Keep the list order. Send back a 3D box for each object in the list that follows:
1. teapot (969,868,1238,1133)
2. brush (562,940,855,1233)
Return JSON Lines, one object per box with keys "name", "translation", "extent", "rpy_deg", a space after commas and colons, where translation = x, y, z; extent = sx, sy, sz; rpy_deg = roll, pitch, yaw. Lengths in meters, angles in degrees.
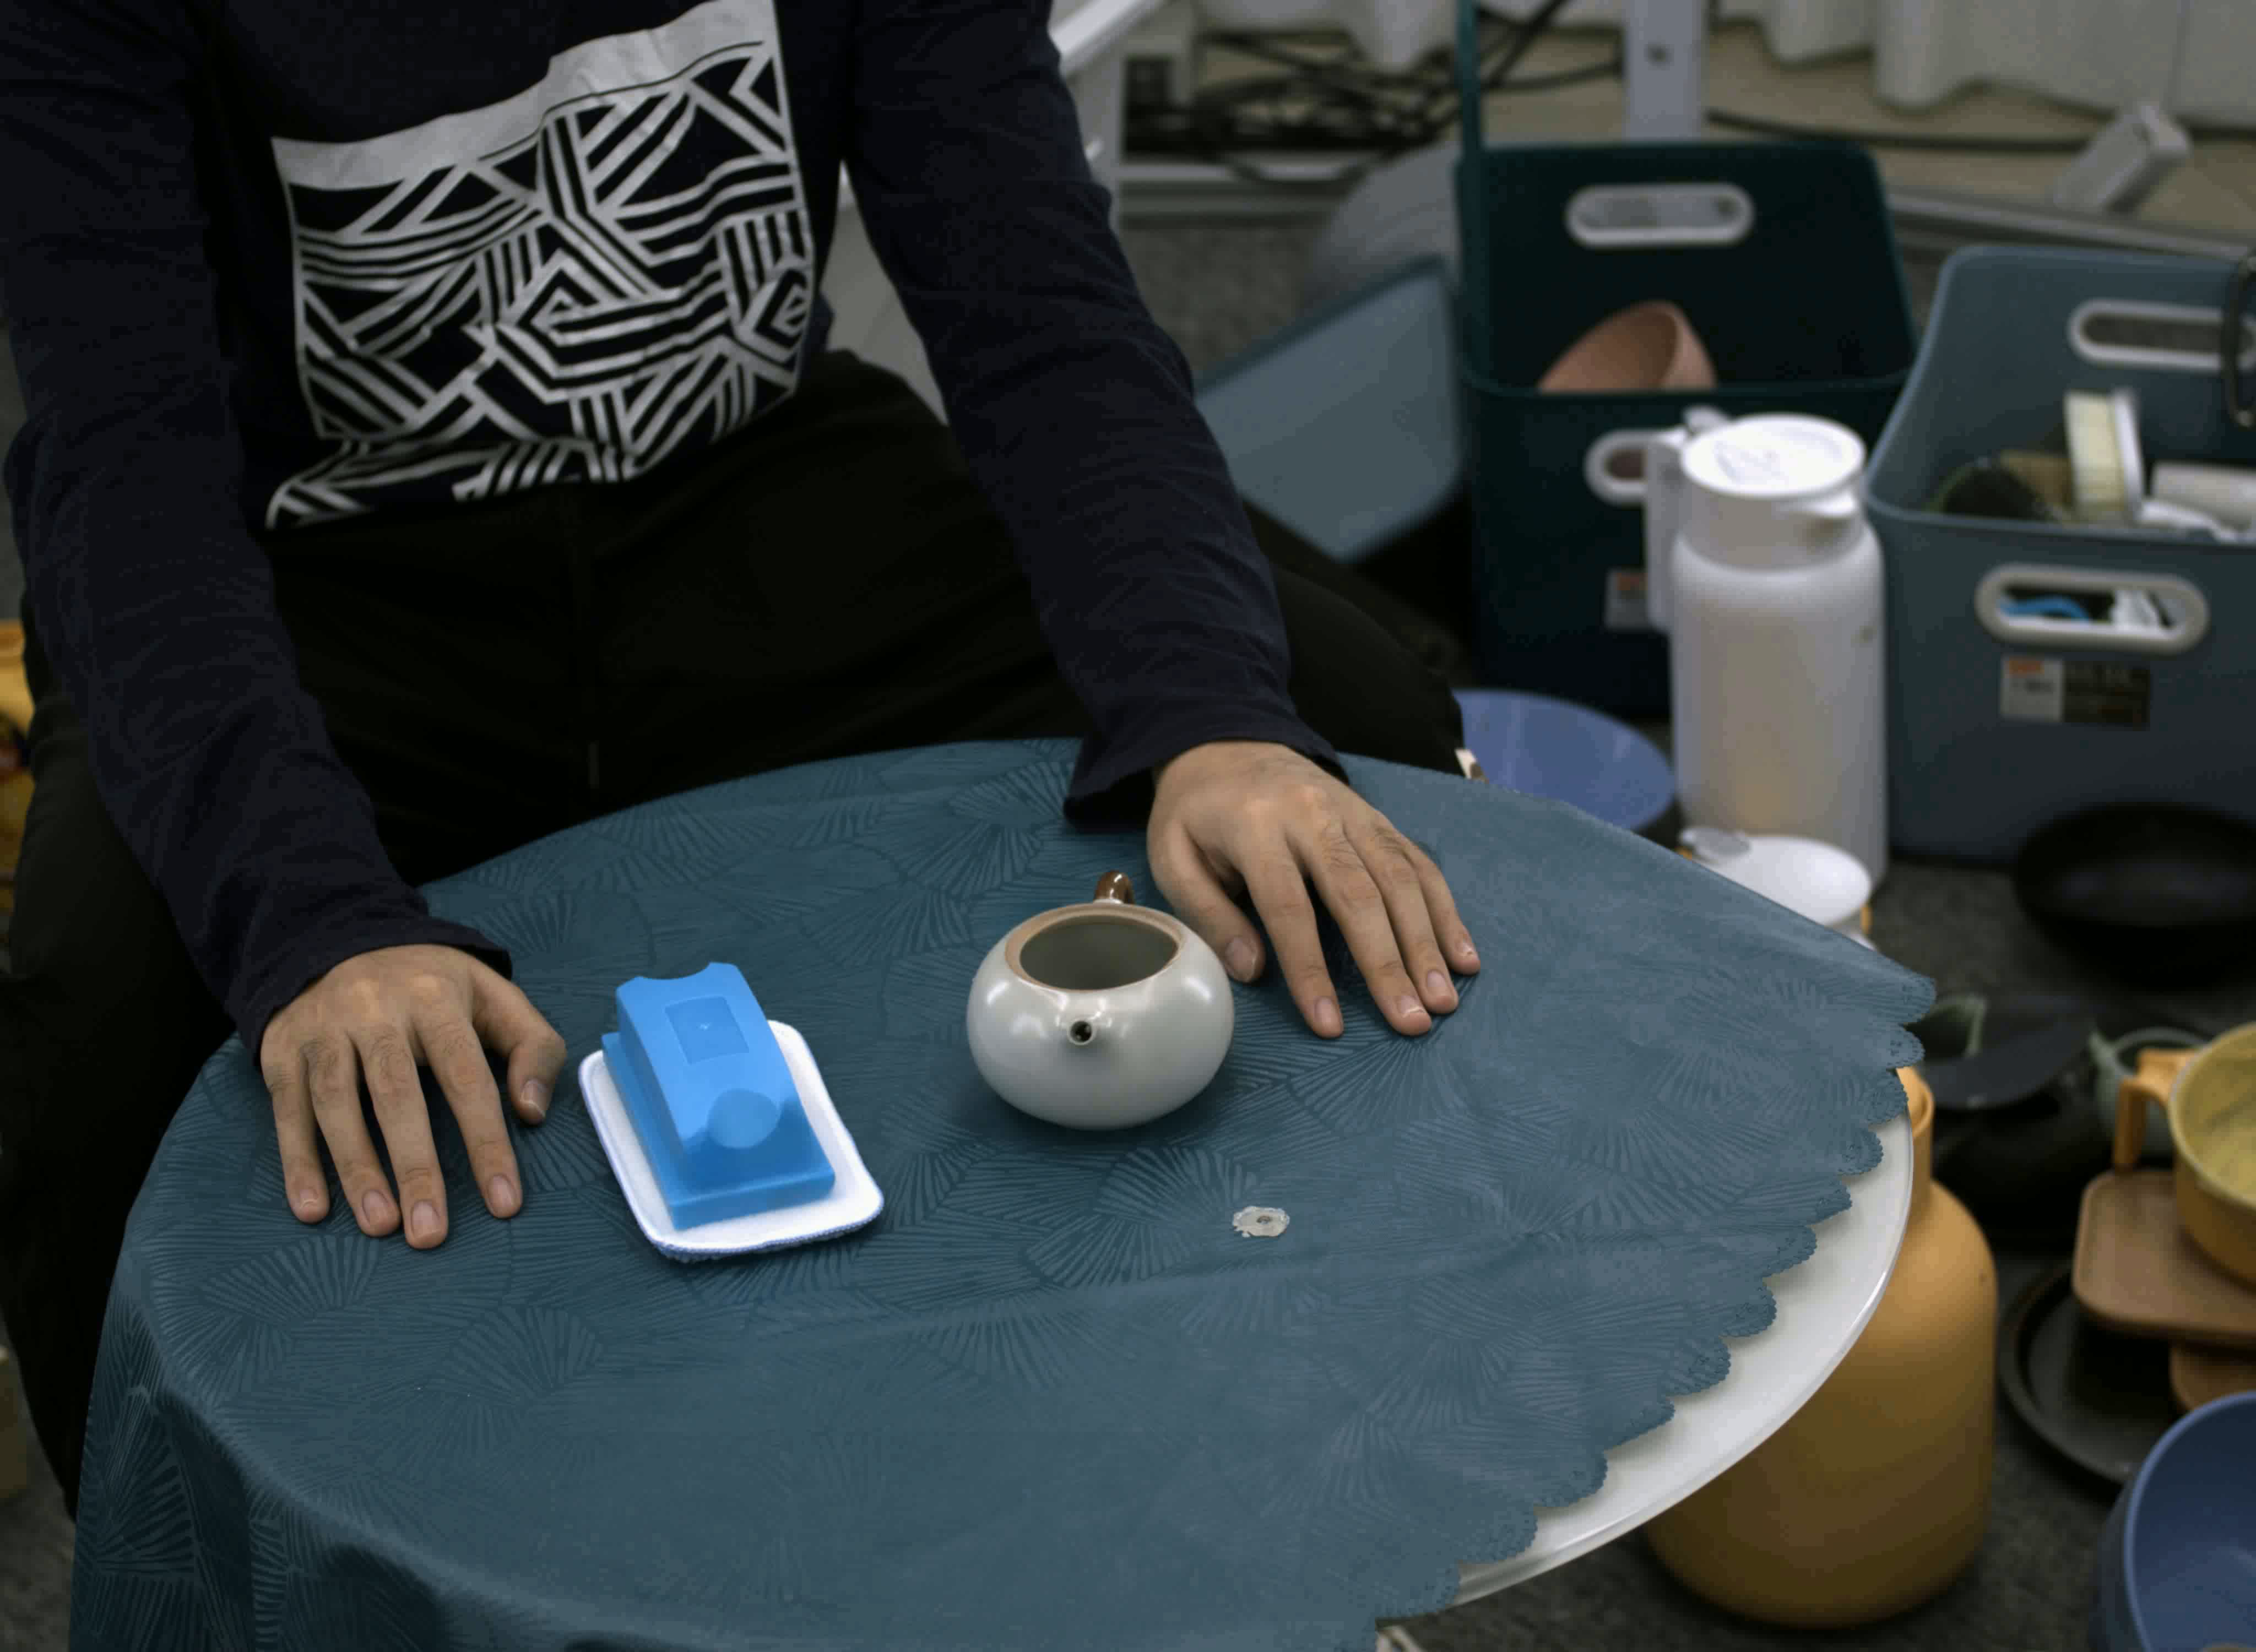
{"name": "teapot", "translation": [-0.008, 0.061, 1.914], "extent": [0.091, 0.059, 0.130], "rpy_deg": [-4, 28, 4]}
{"name": "brush", "translation": [-0.140, 0.083, 1.882], "extent": [0.084, 0.055, 0.145], "rpy_deg": [-6, 30, -13]}
